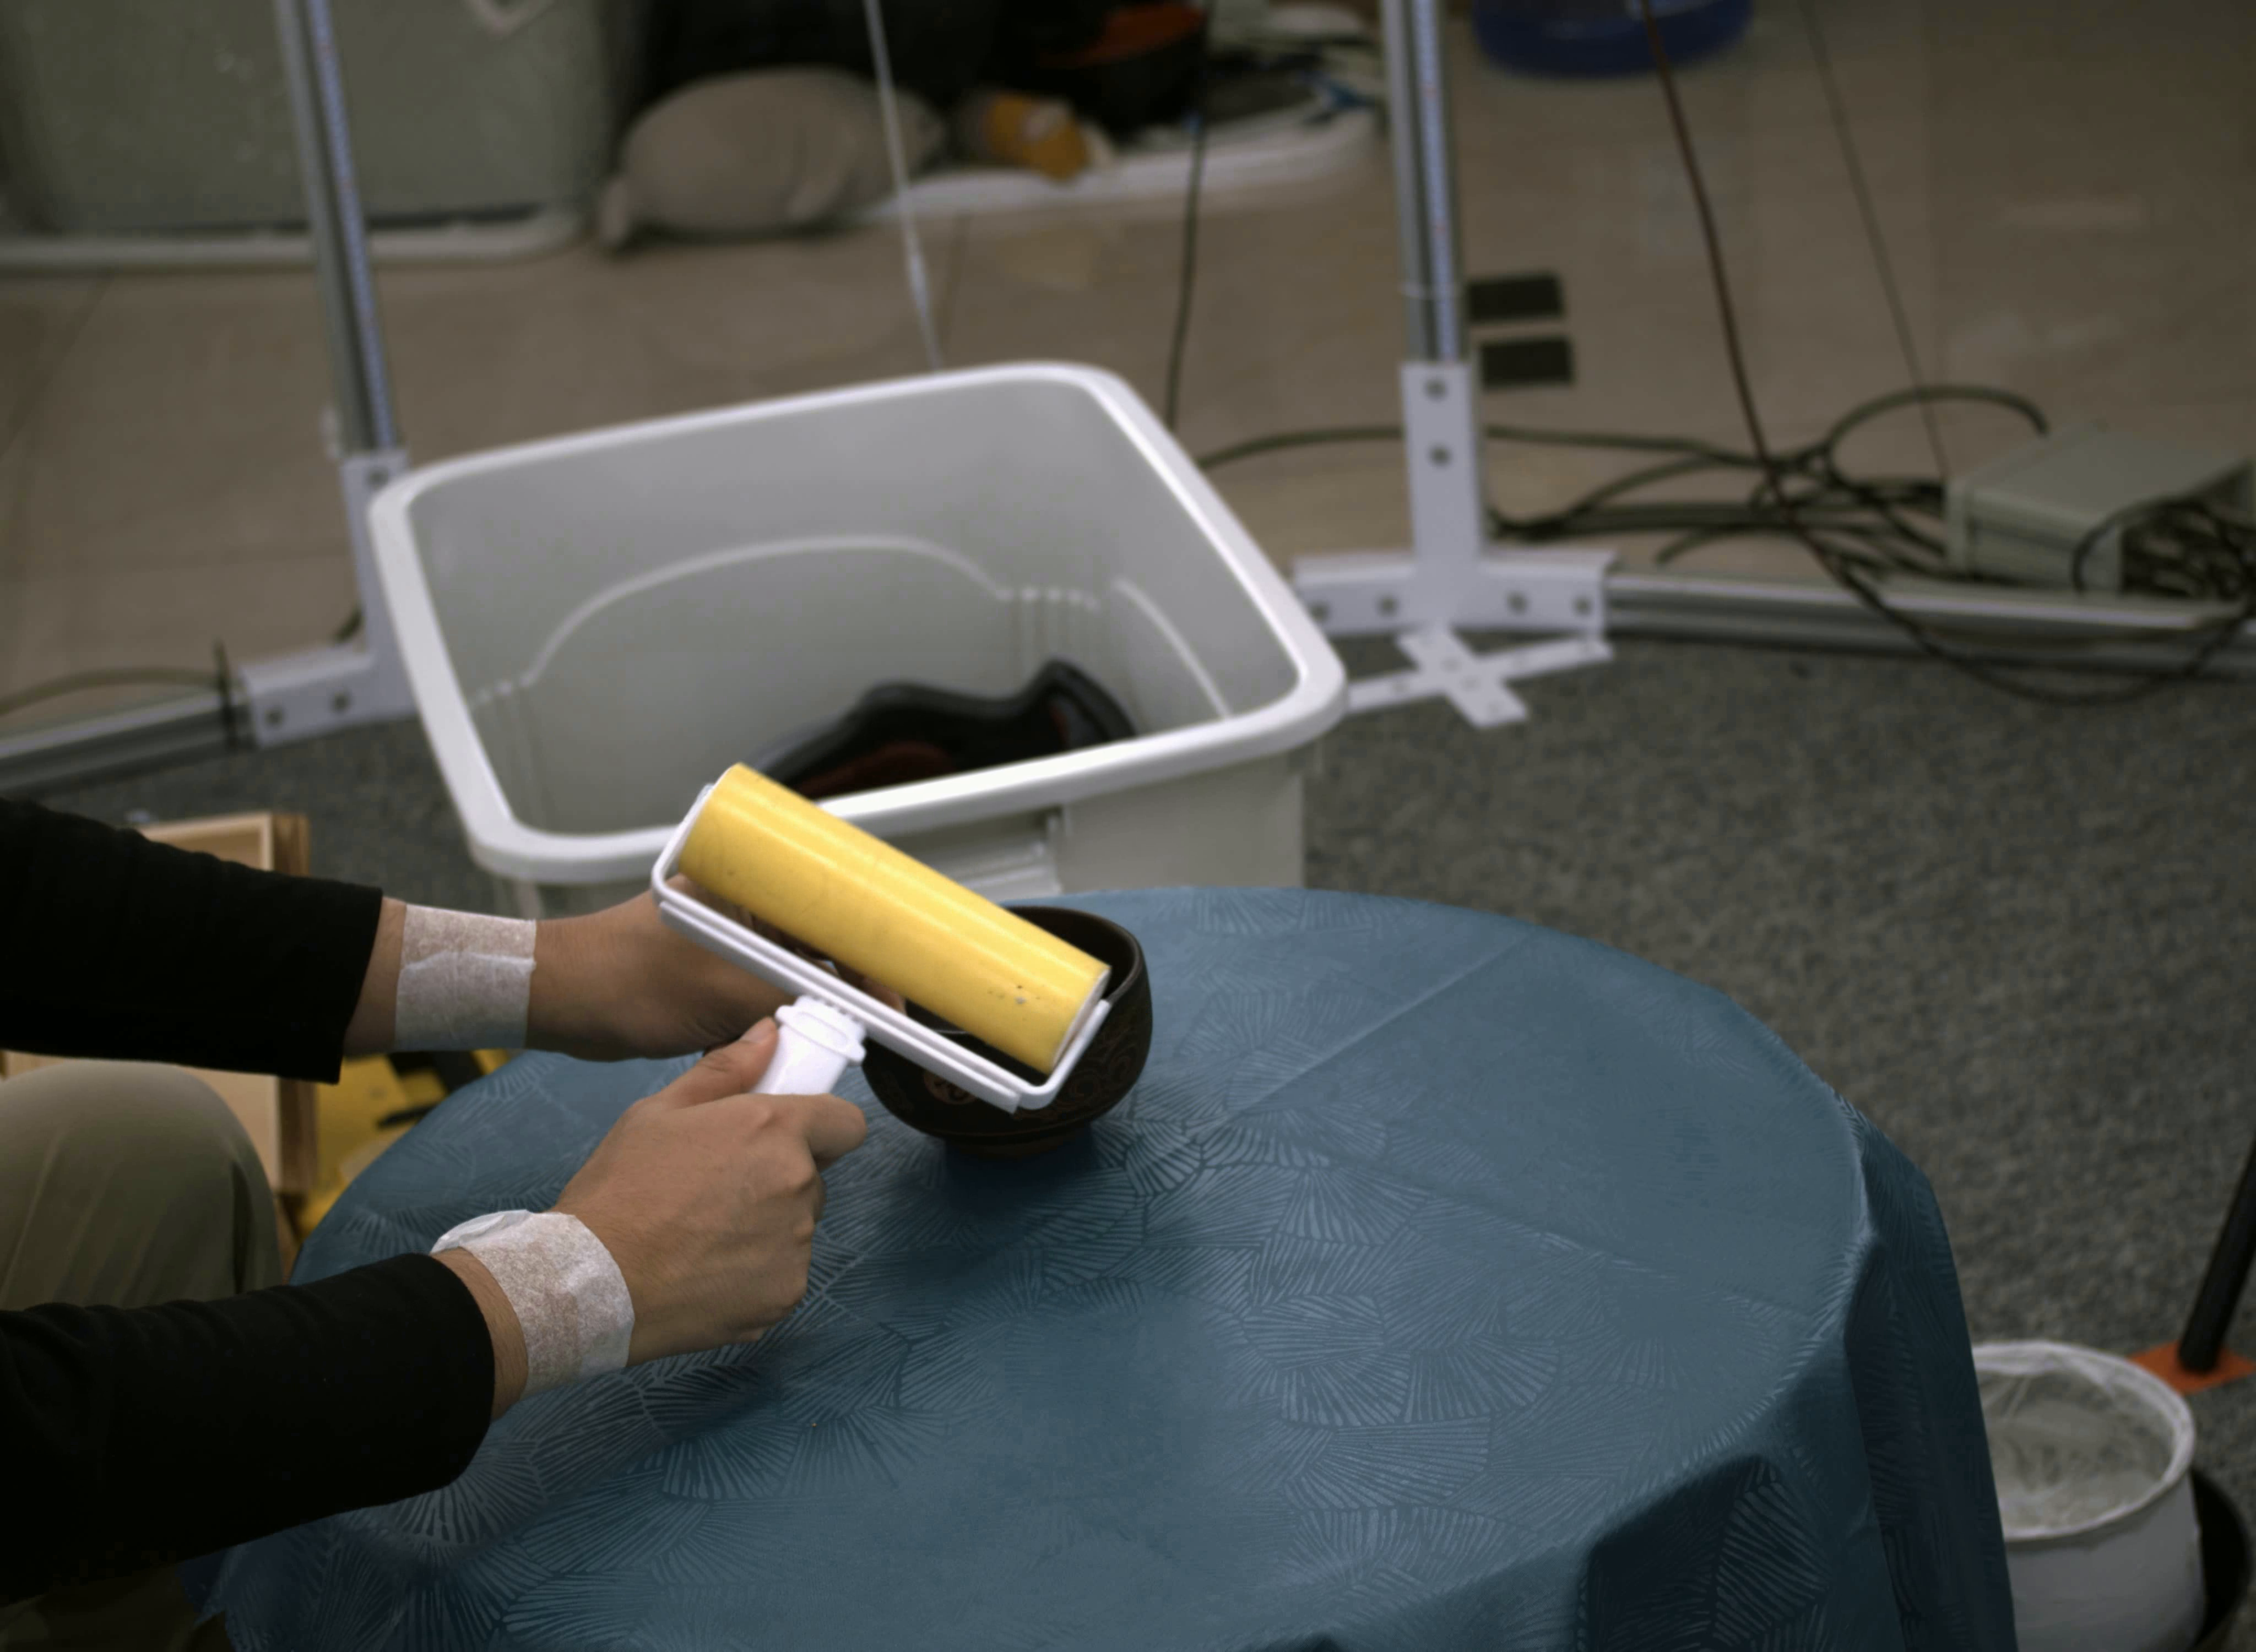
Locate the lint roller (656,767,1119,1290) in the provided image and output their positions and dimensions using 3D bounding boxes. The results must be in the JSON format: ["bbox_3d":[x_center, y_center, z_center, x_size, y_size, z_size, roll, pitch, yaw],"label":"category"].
[{"bbox_3d":[-0.115,0.086,2.069,0.174,0.052,0.189,28,53,4],"label":"lint roller"}]

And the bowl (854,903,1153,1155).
[{"bbox_3d":[-0.048,0.084,2.189,0.118,0.071,0.116,-5,24,2],"label":"bowl"}]
